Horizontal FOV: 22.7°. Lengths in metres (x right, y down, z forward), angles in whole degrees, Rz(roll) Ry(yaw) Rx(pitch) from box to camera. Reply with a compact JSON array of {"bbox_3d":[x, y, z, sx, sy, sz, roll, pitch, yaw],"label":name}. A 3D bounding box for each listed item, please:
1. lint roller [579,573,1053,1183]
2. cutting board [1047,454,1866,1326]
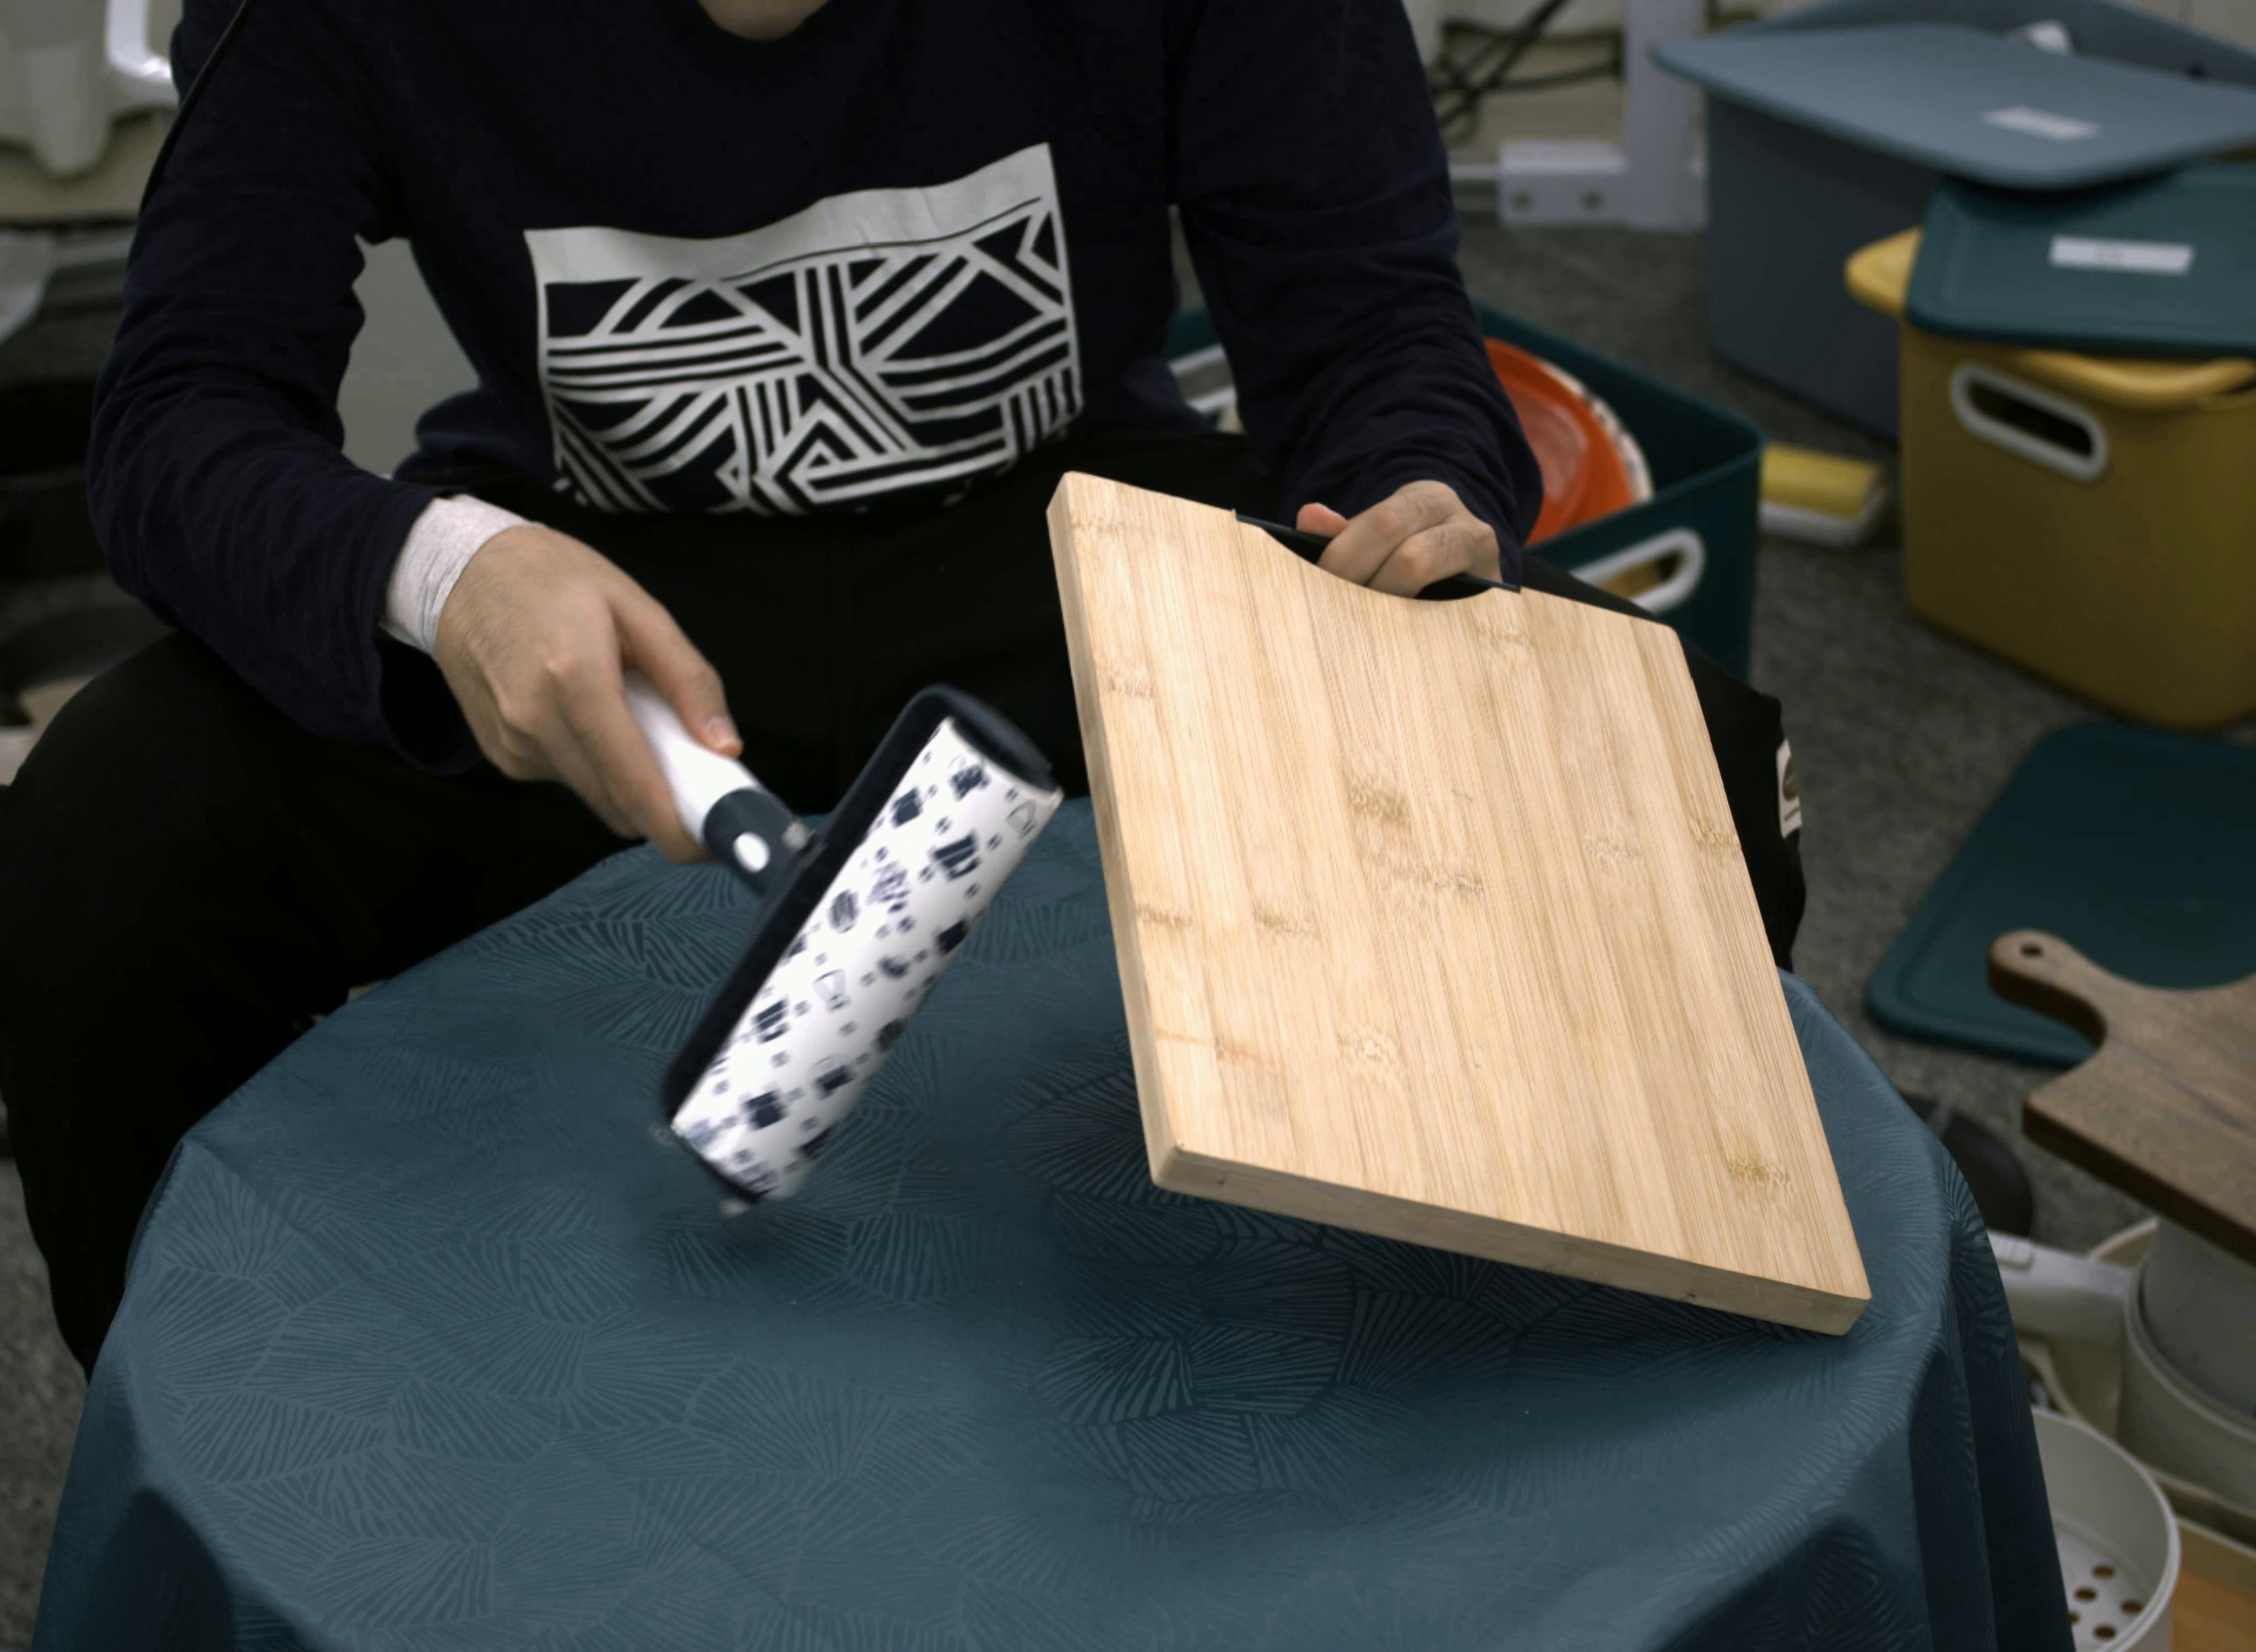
[{"bbox_3d":[-0.136,-0.015,1.884,0.050,0.175,0.249,29,14,-44],"label":"lint roller"},{"bbox_3d":[0.100,0.015,1.859,0.250,0.023,0.355,14,36,-19],"label":"cutting board"}]
